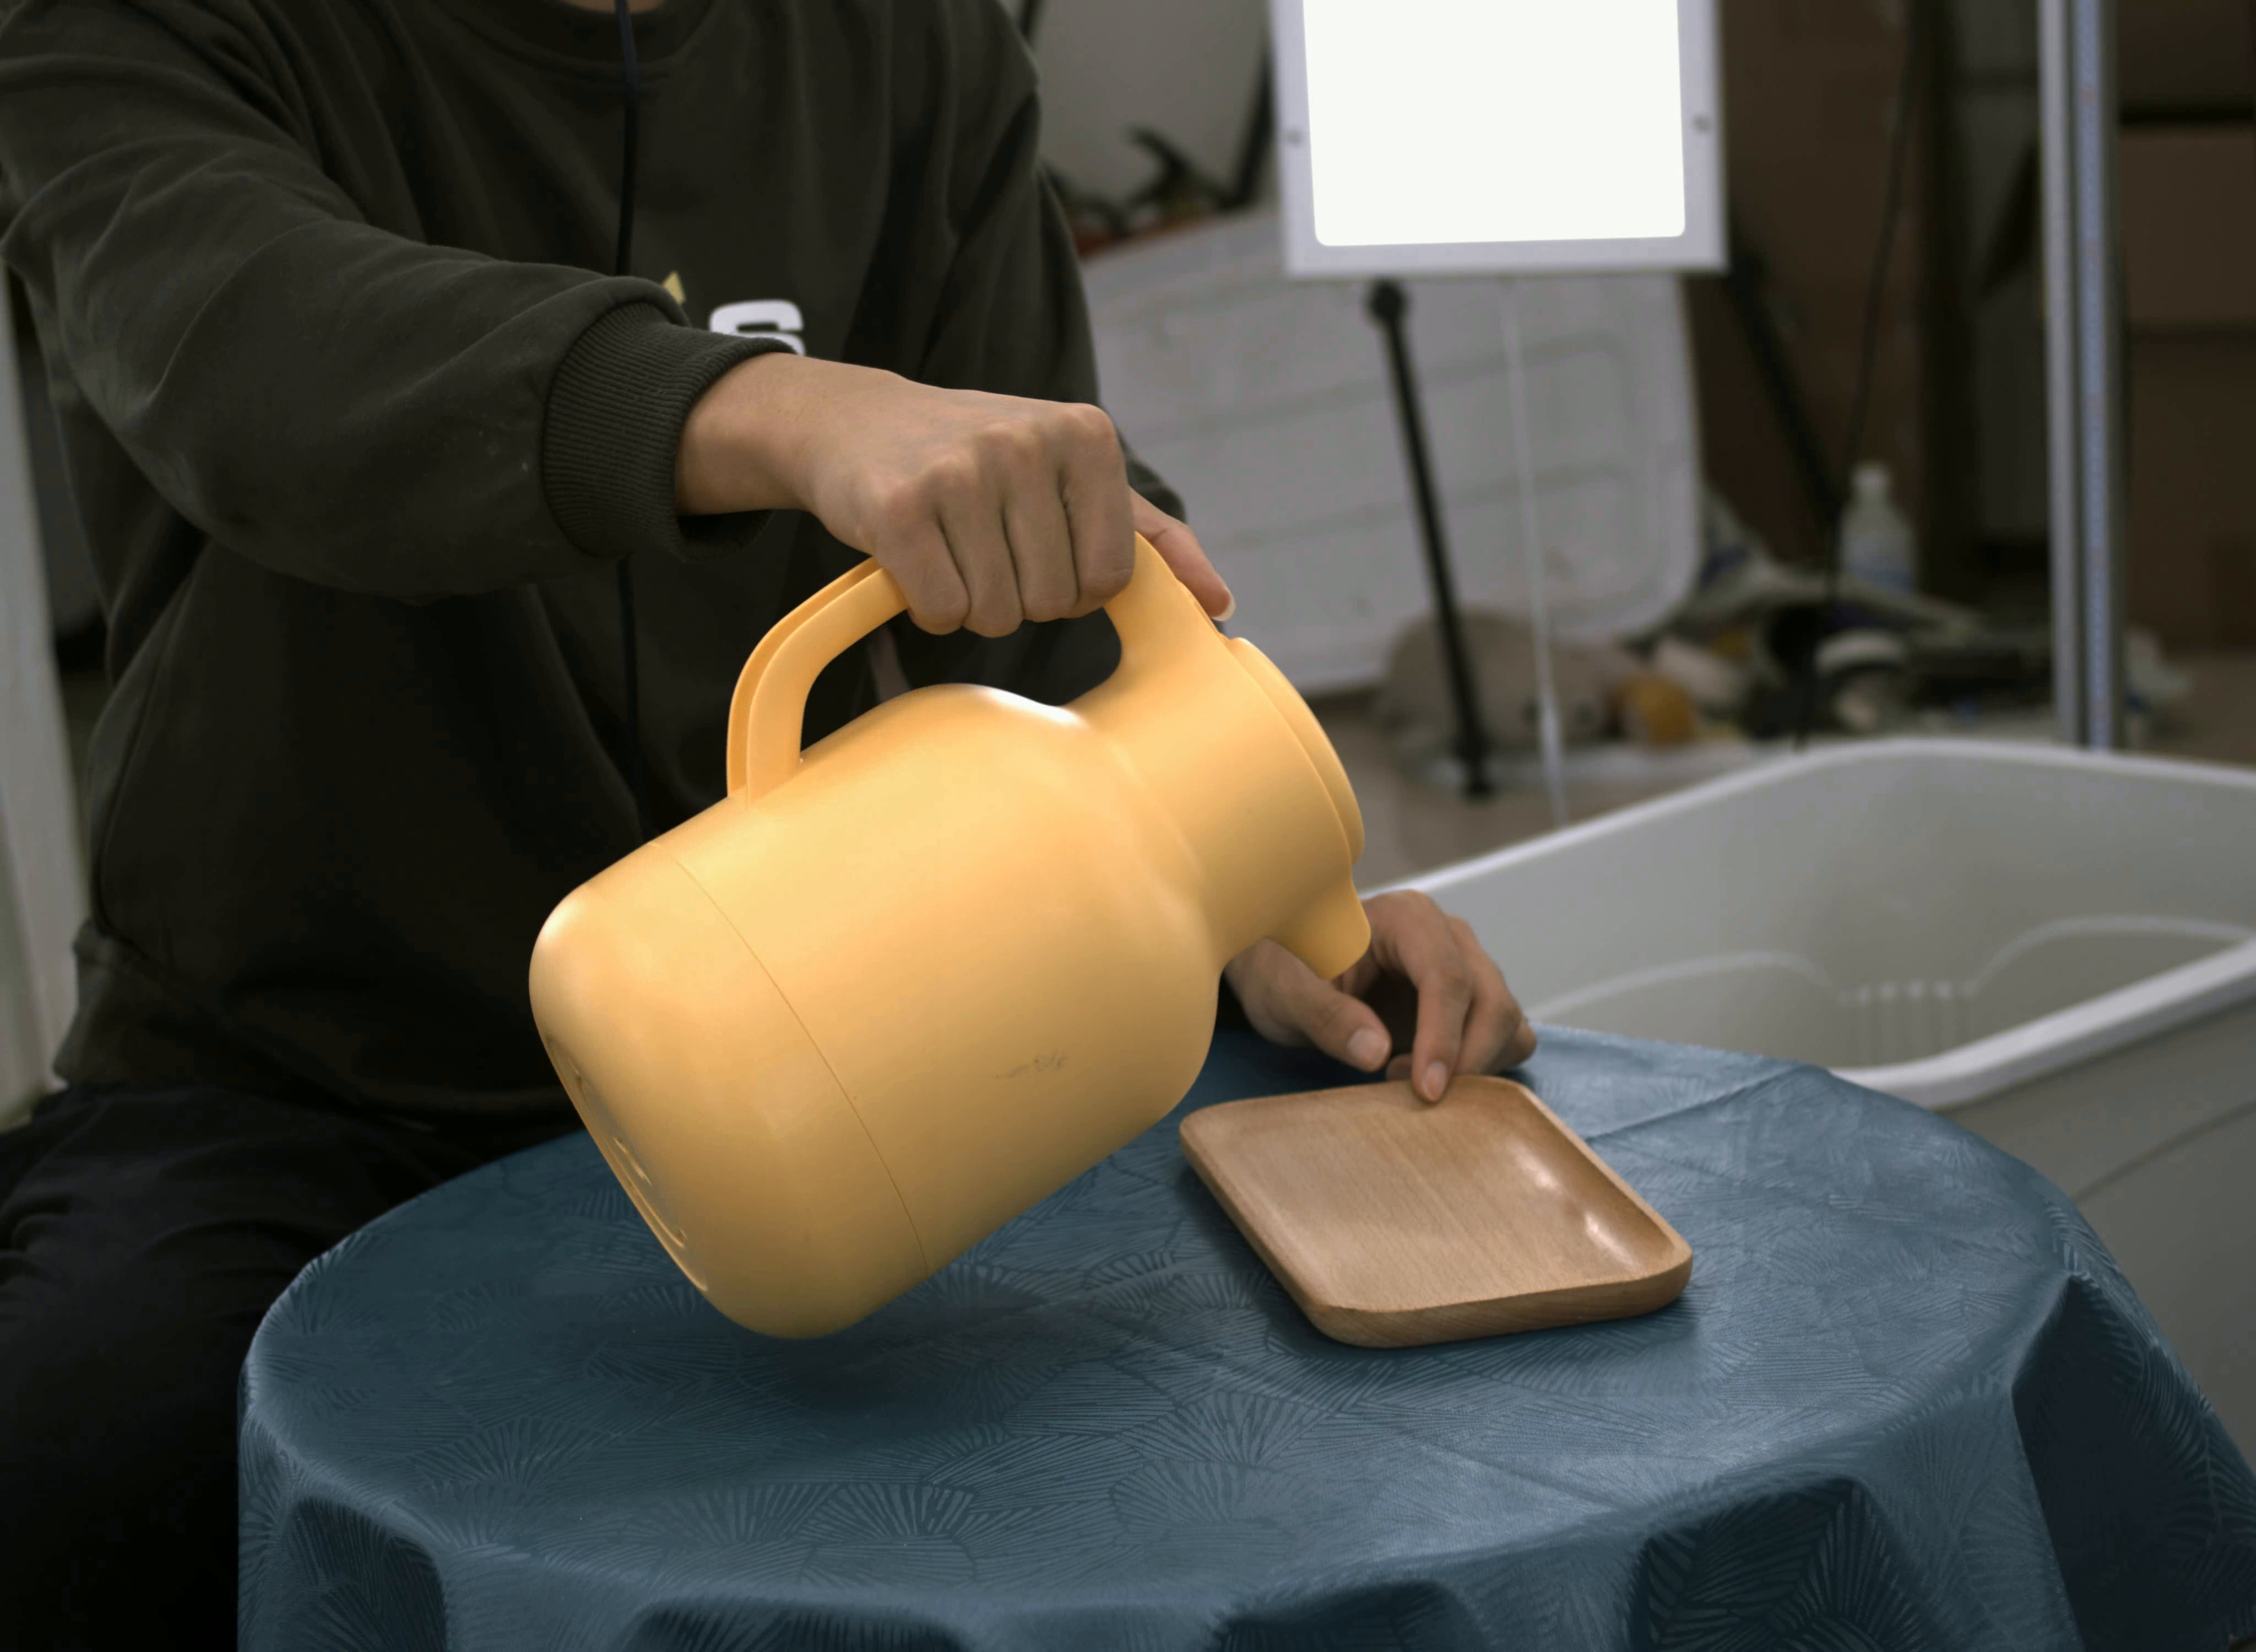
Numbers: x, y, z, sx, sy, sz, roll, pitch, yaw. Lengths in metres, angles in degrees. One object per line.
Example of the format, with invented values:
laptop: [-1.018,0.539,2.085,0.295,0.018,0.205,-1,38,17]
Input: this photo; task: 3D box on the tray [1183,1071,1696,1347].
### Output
tray: [0.100,0.125,1.833,0.129,0.023,0.252,-5,12,-9]

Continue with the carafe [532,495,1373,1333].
carafe: [-0.059,0.020,1.741,0.257,0.202,0.165,-31,12,-13]
